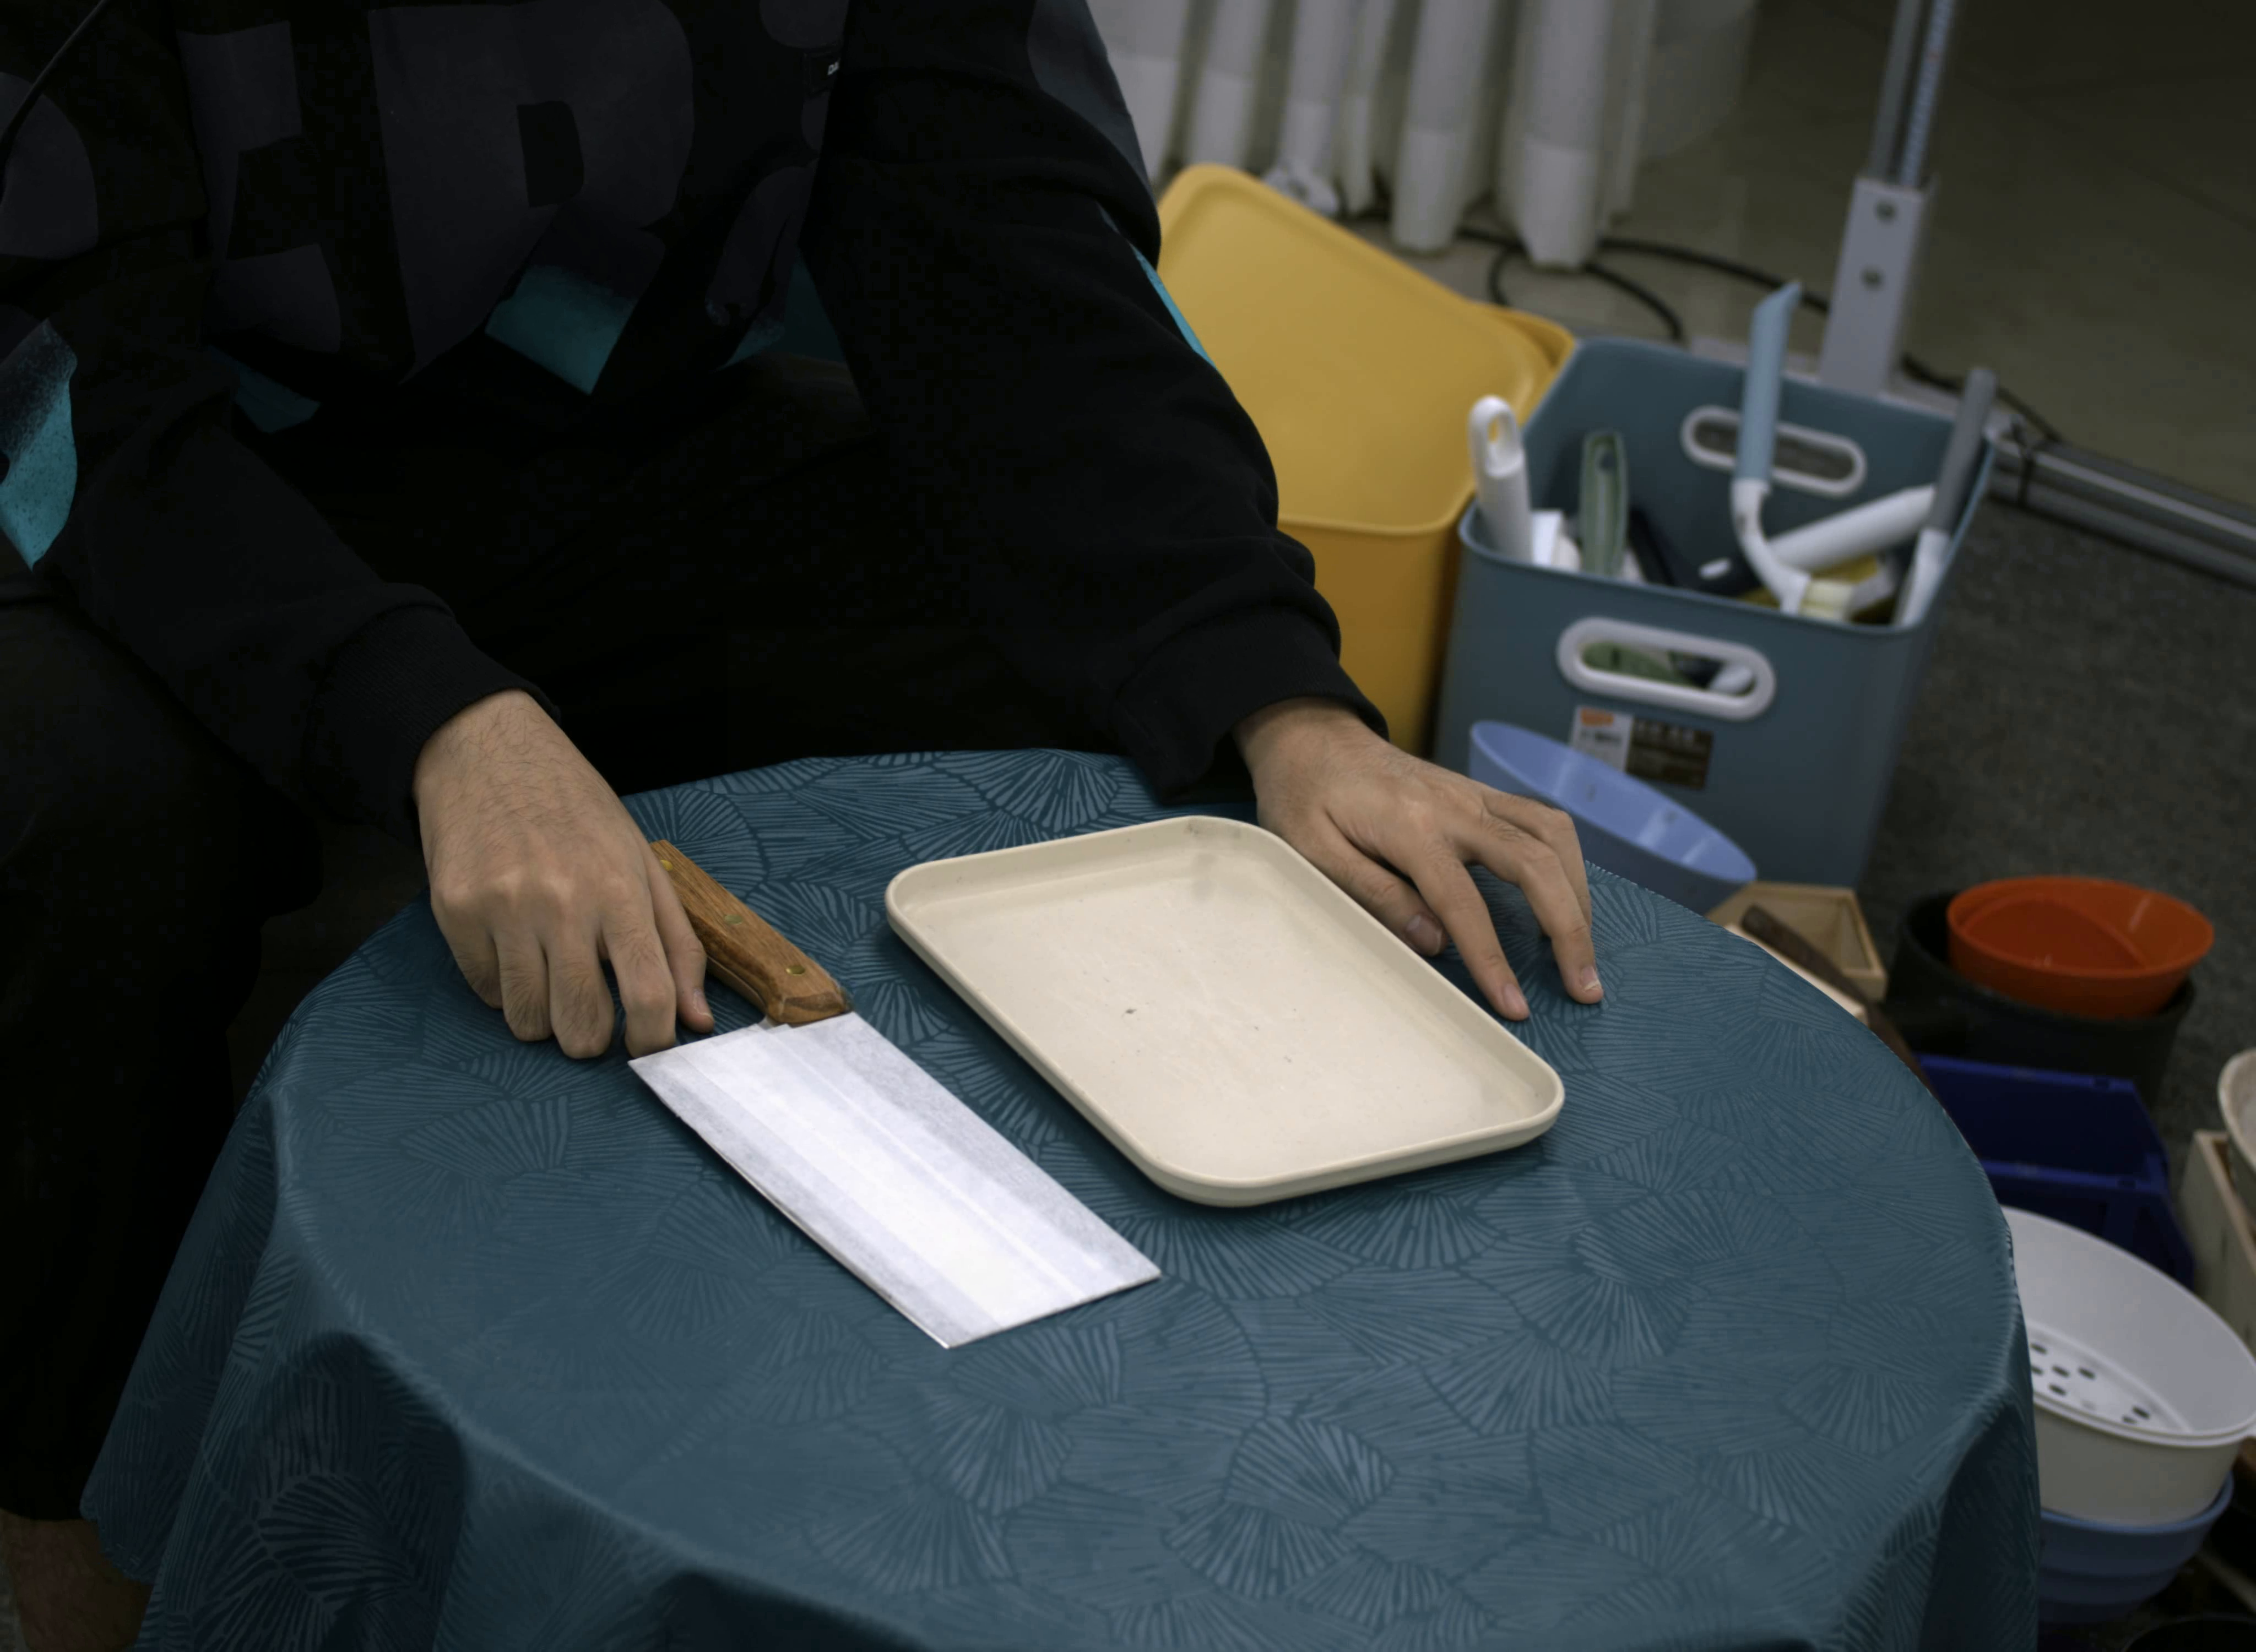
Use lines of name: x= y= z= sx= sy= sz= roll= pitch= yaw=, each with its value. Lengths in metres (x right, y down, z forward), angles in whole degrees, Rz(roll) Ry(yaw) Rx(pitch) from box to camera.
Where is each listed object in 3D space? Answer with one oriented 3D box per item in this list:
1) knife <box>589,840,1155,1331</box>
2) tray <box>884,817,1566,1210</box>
knife: x=-0.113 y=0.088 z=1.830 sx=0.092 sy=0.021 sz=0.308 roll=-16 pitch=37 yaw=-34
tray: x=0.032 y=0.065 z=1.903 sx=0.170 sy=0.017 sz=0.242 roll=-11 pitch=32 yaw=-29
